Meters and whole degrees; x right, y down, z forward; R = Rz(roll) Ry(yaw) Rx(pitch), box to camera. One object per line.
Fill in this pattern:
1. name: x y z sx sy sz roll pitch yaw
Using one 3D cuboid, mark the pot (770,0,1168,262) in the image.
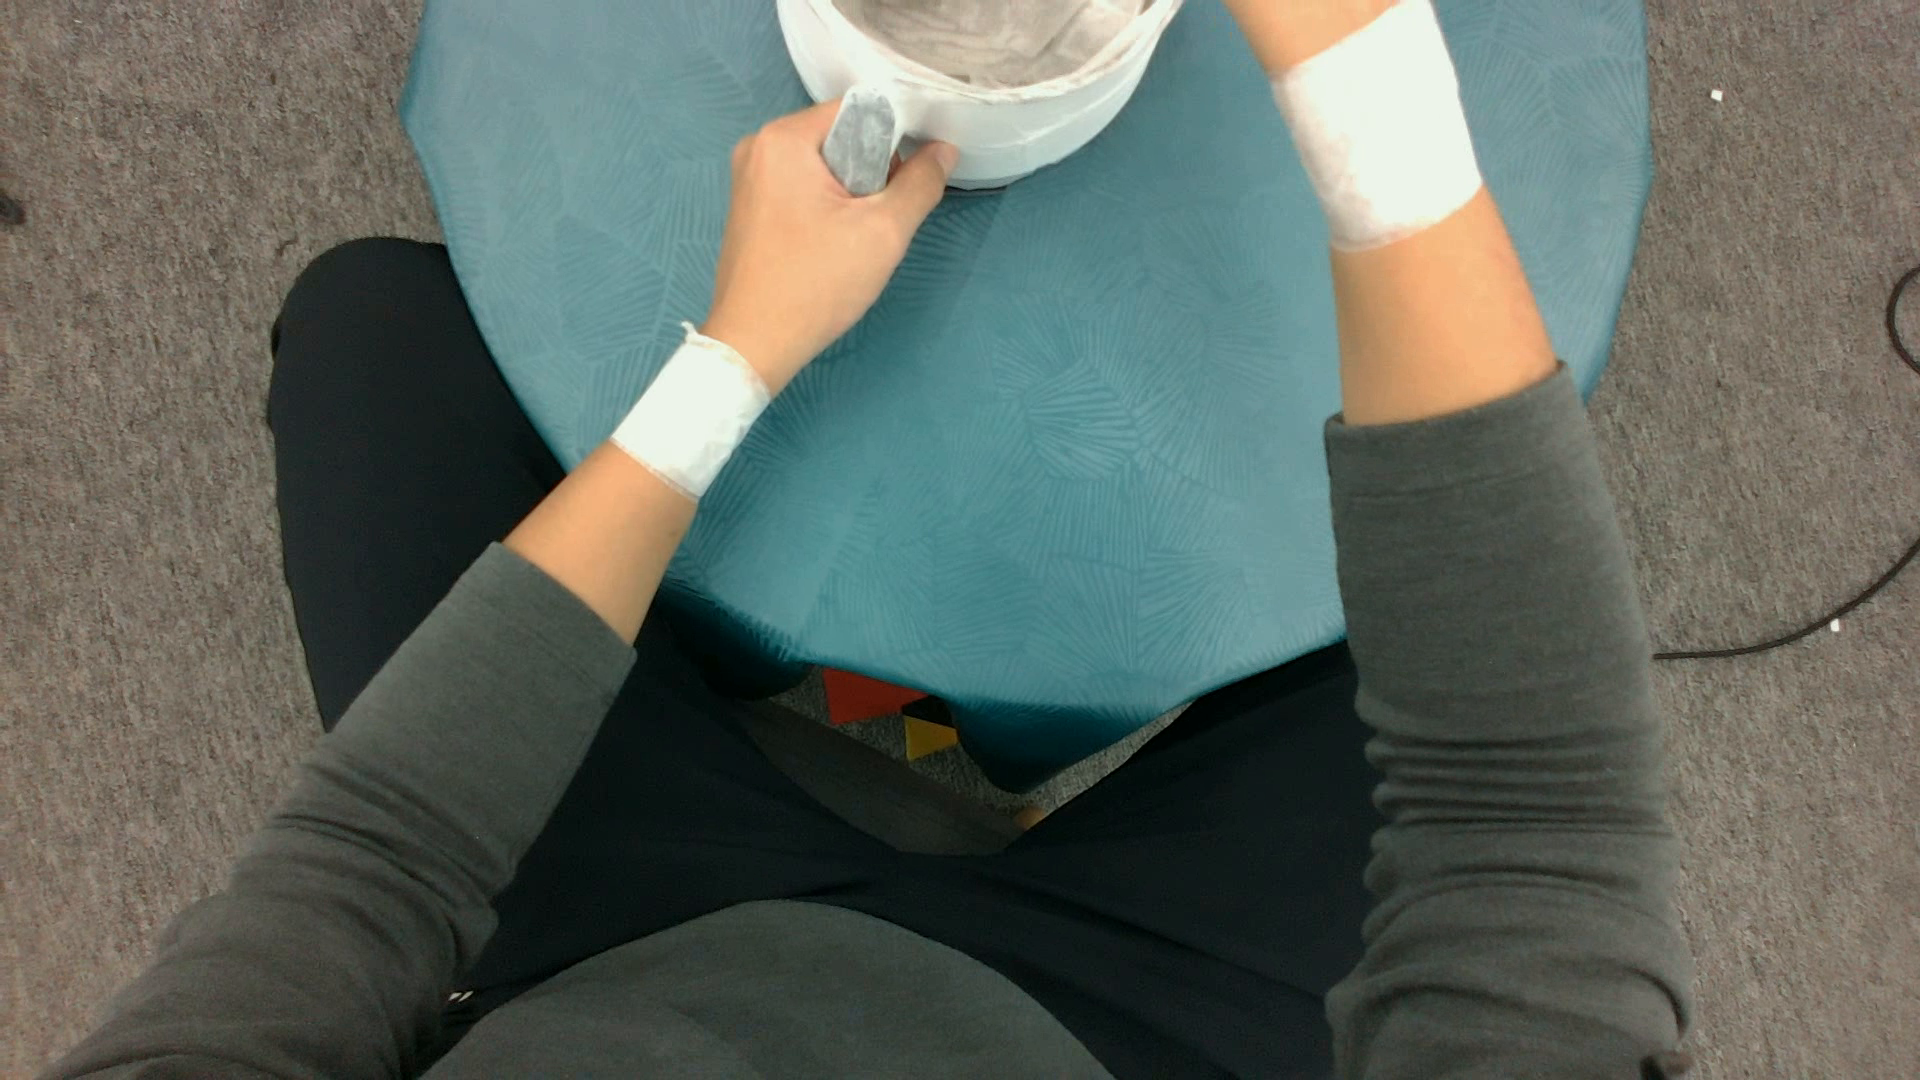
1. pot: -0.009 -0.235 0.598 0.179 0.136 0.234 26 86 -4
